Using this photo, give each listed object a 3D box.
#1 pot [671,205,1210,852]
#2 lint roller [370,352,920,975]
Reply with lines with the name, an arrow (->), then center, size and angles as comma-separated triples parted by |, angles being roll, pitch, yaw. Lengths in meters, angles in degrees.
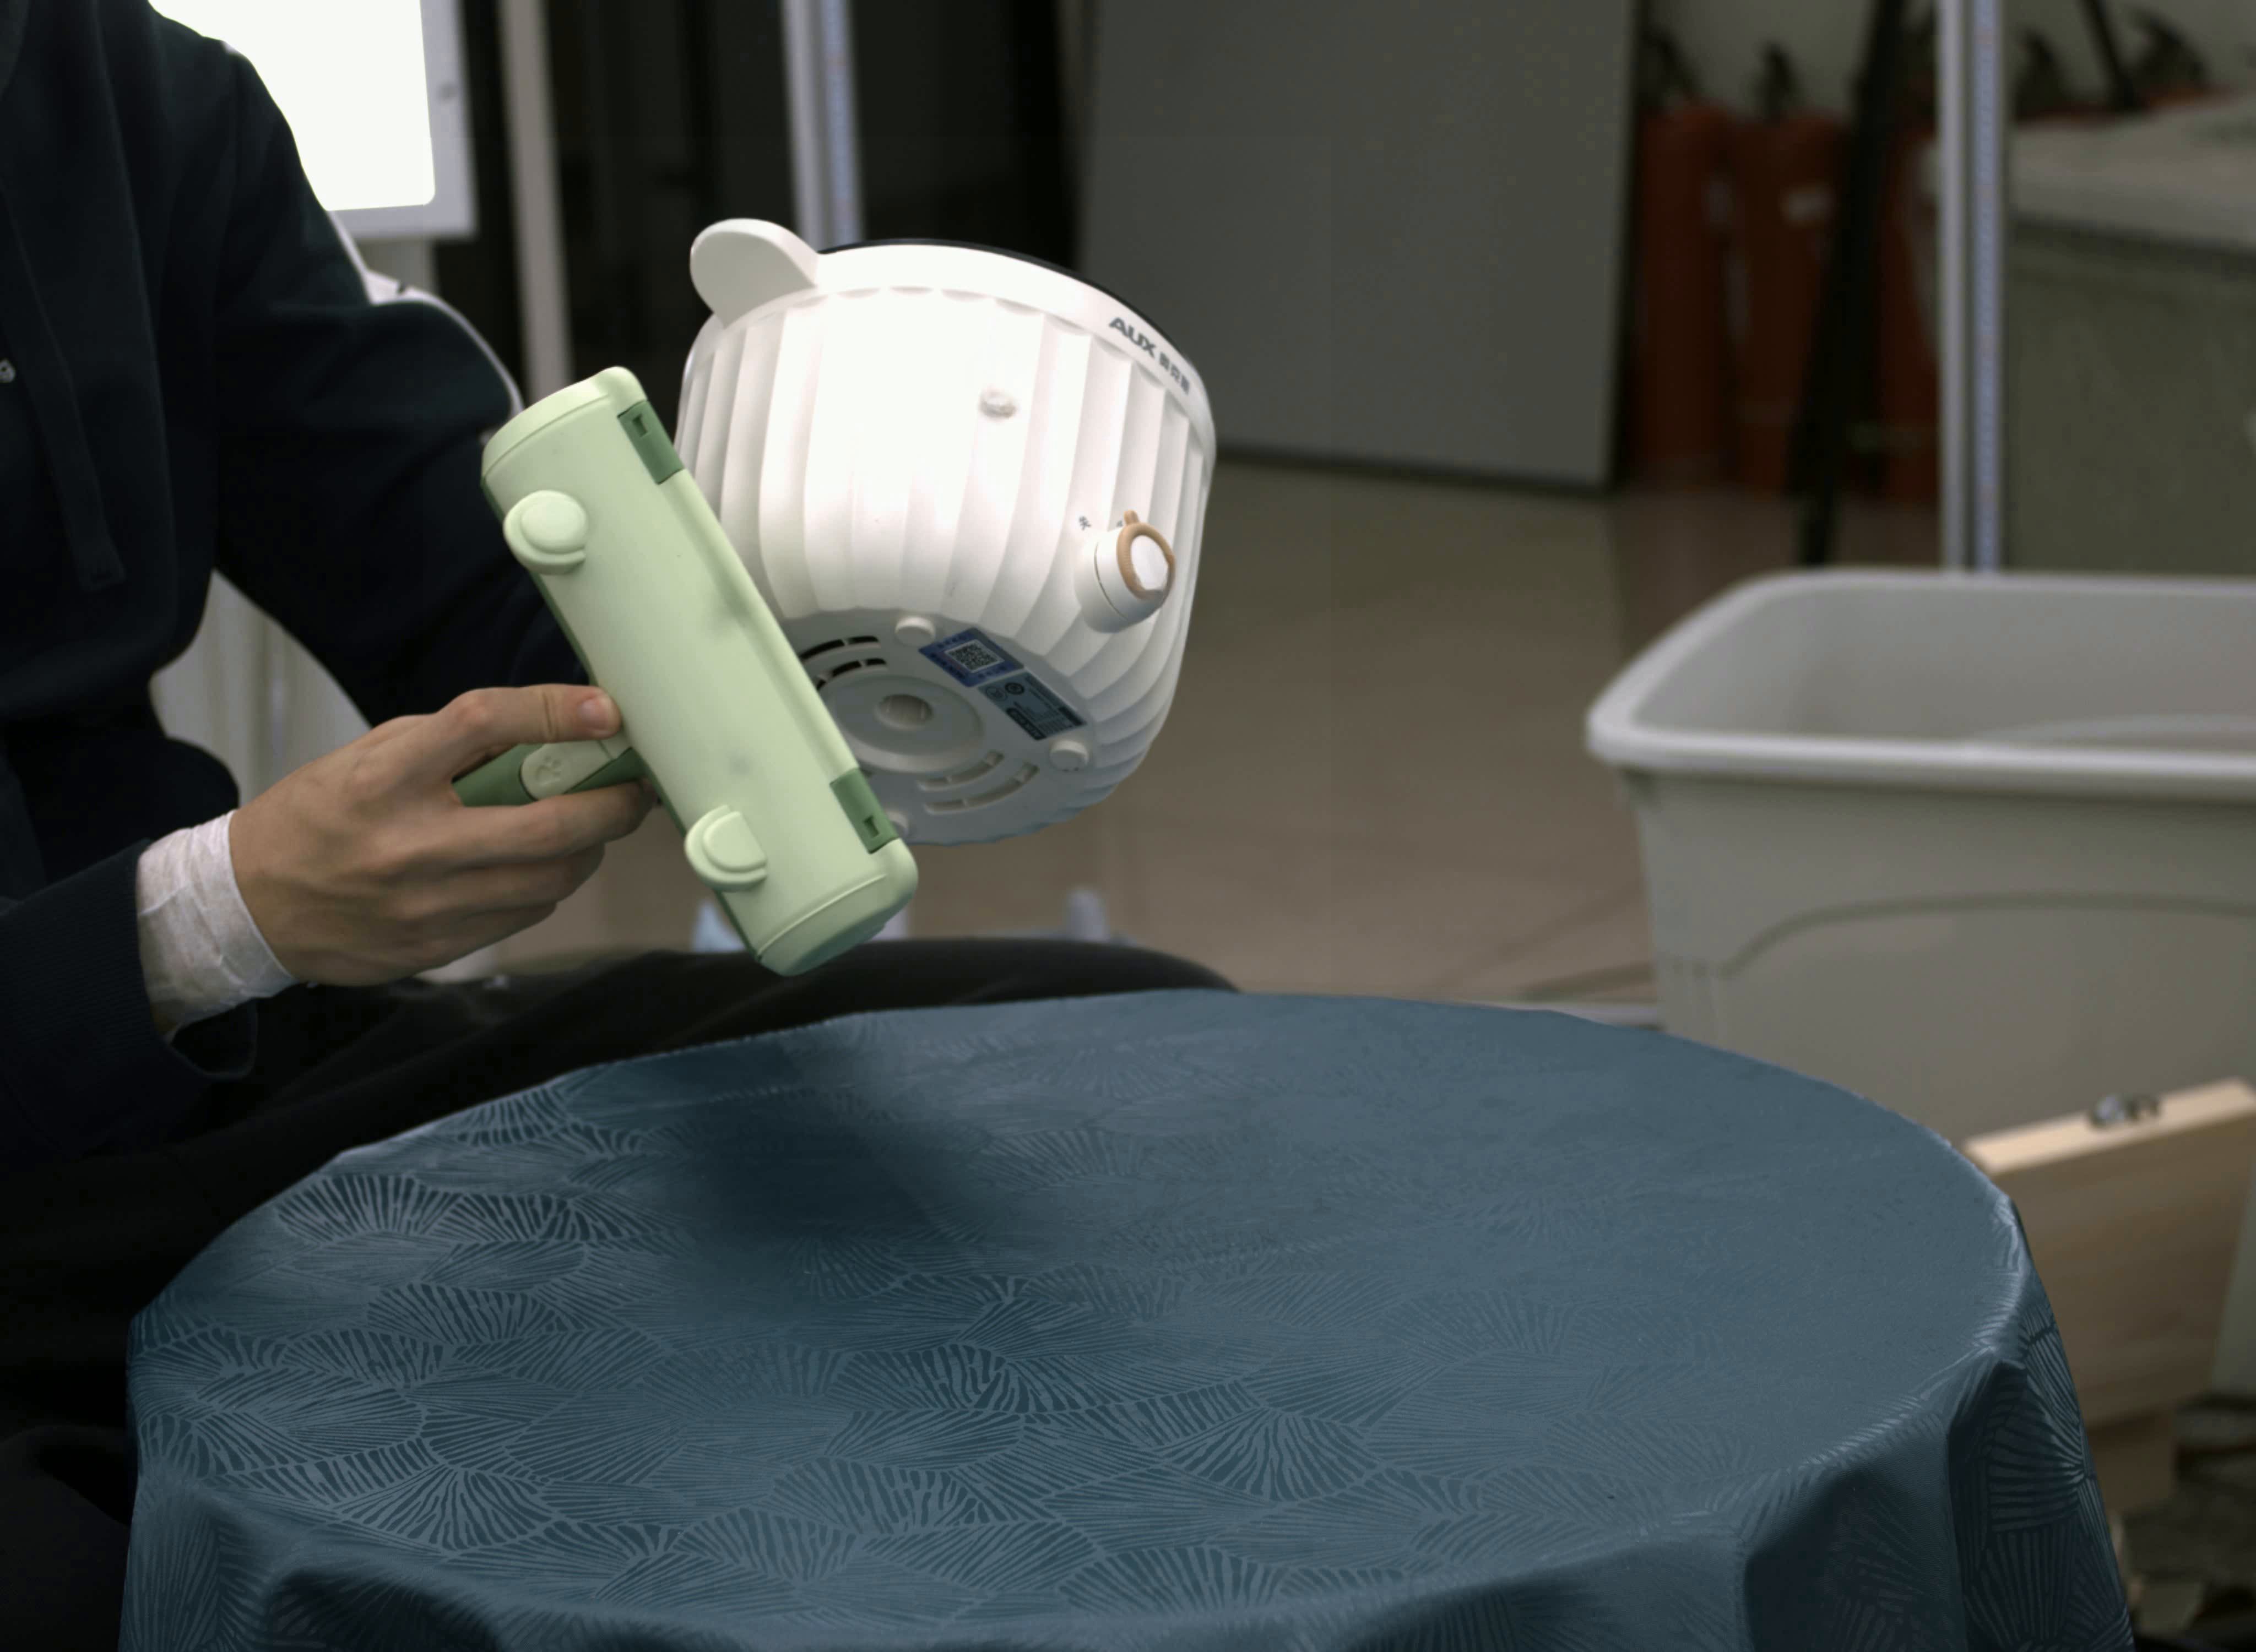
pot -> -0.062, -0.086, 1.779 | 0.191, 0.237, 0.144 | -24, 45, 32
lint roller -> -0.181, -0.020, 1.703 | 0.184, 0.200, 0.081 | -33, -9, 18
